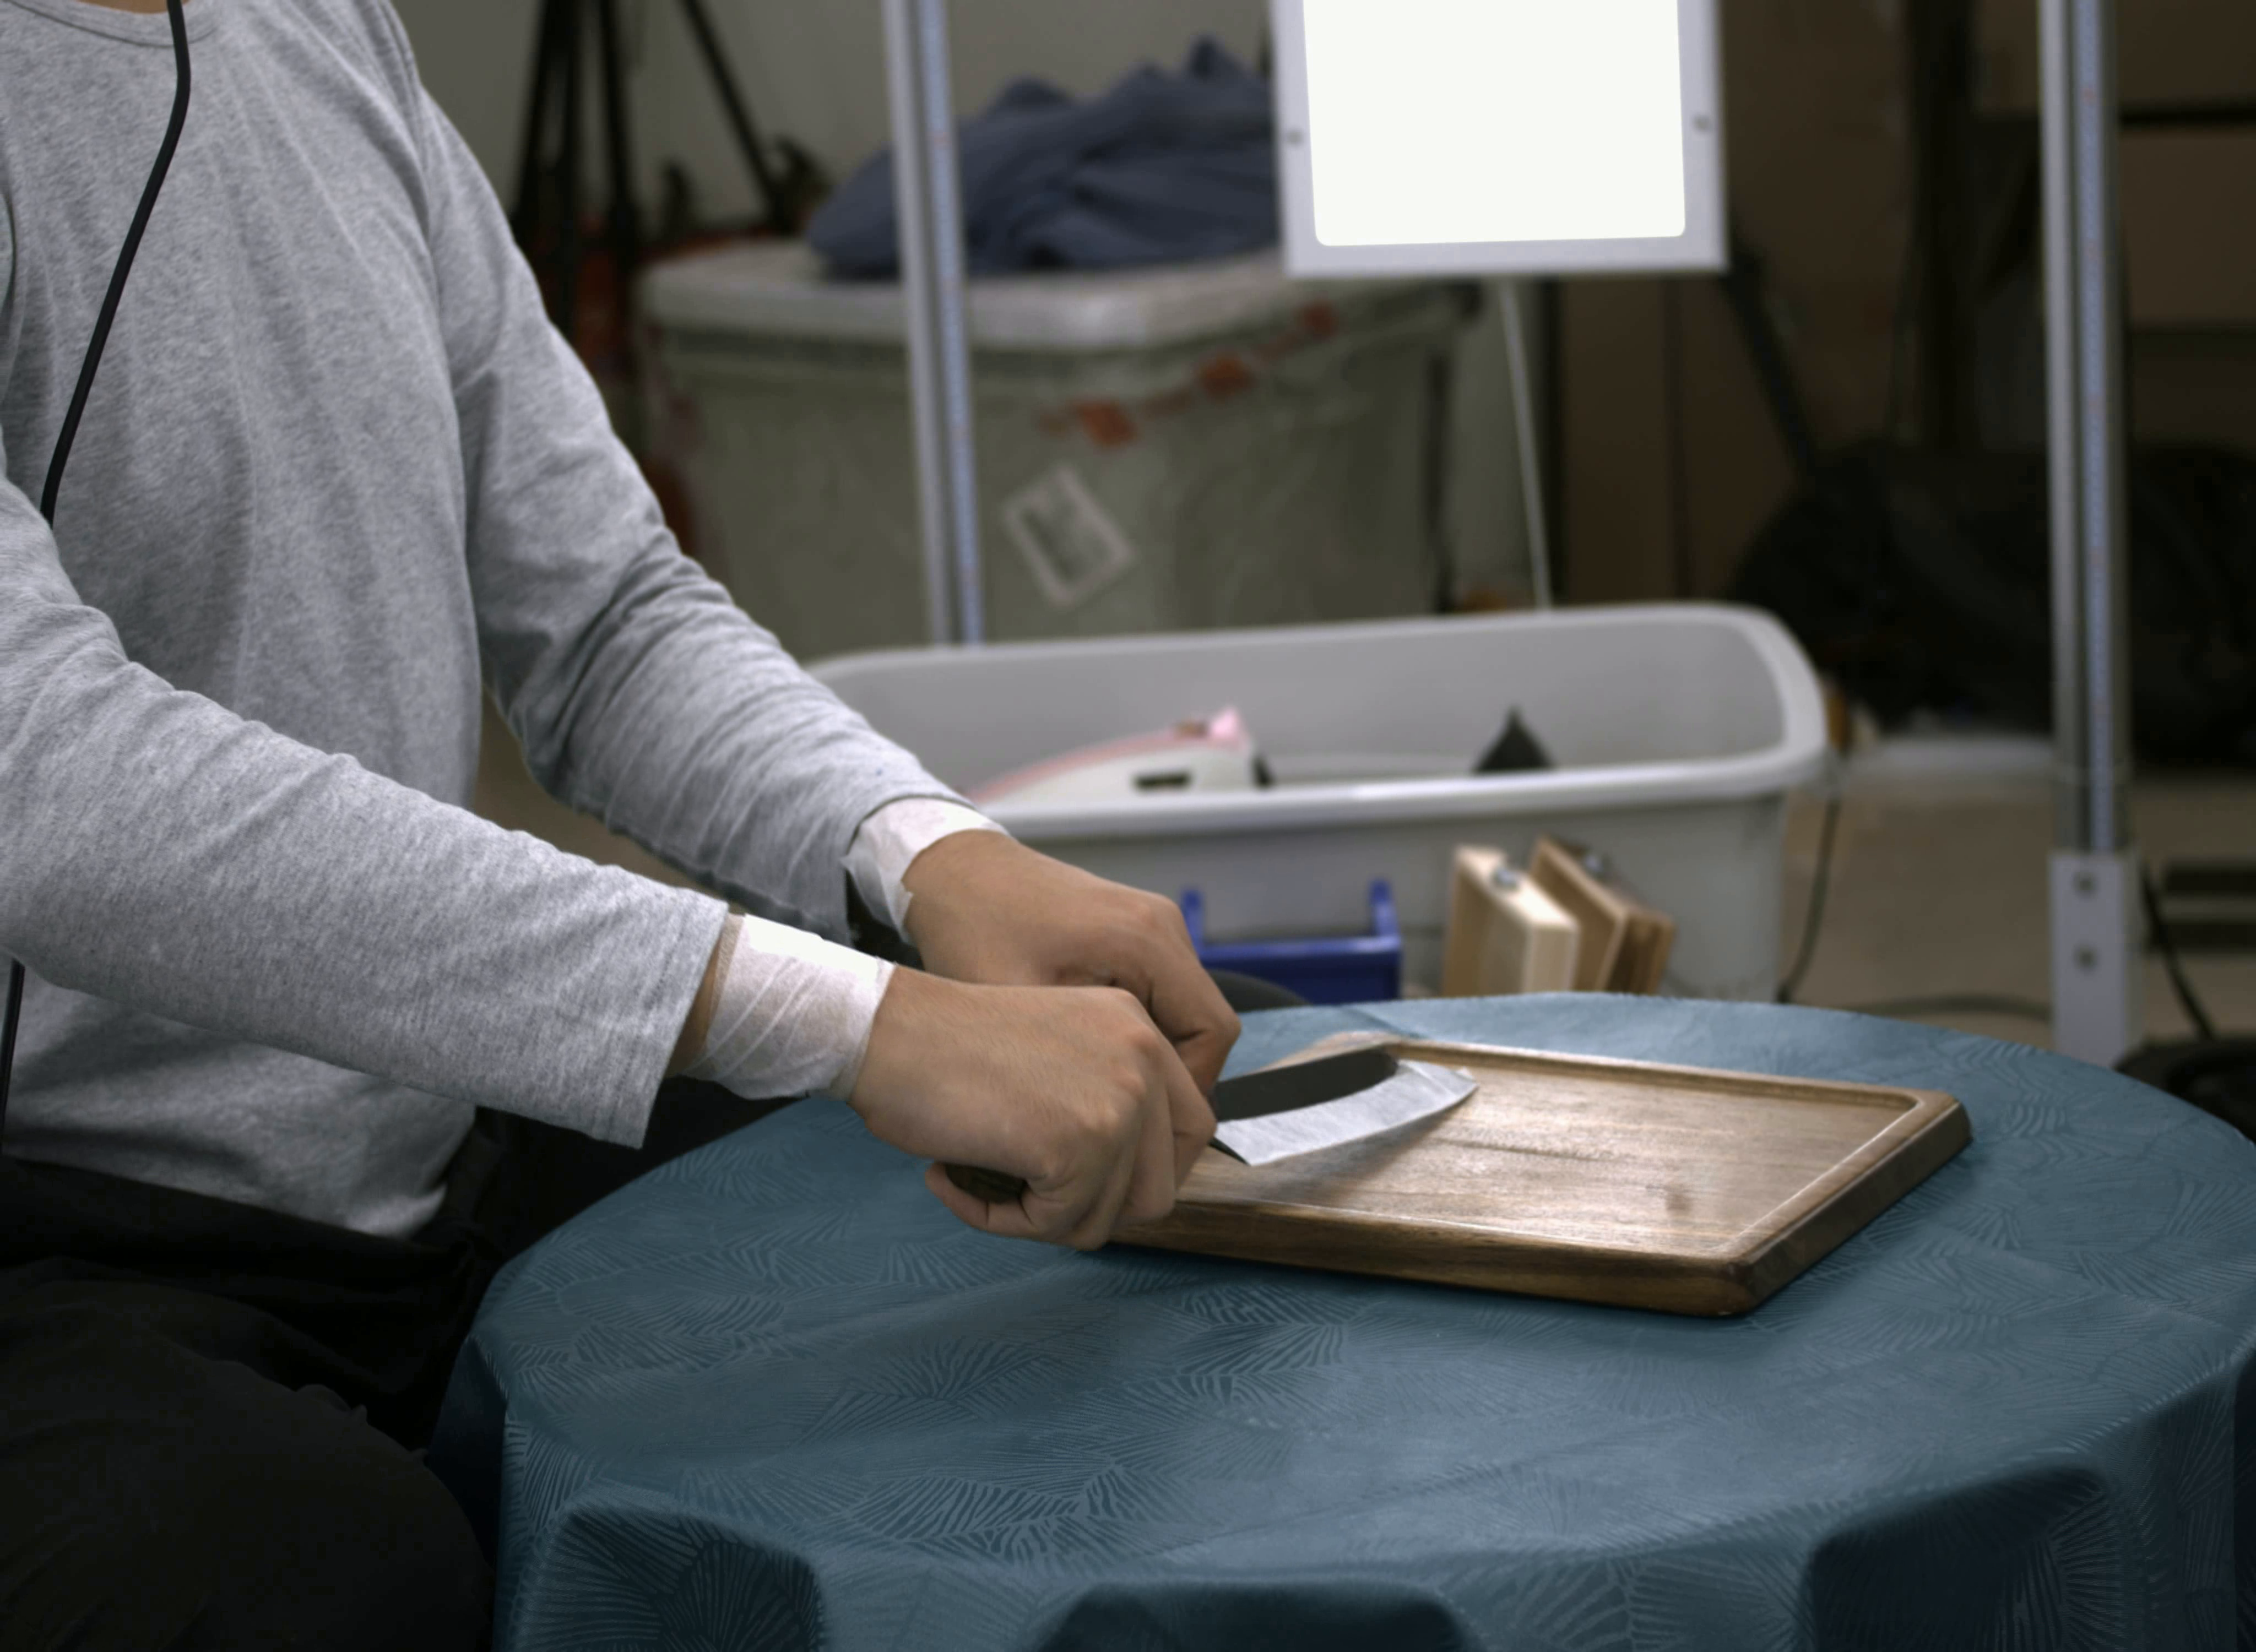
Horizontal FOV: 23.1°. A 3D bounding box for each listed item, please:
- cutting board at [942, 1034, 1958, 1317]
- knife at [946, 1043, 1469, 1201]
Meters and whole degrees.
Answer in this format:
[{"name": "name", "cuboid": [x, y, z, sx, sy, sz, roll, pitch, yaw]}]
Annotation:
[{"name": "cutting board", "cuboid": [0.090, 0.111, 1.883, 0.359, 0.023, 0.196, 5, 16, 32]}, {"name": "knife", "cuboid": [0.033, 0.096, 1.821, 0.051, 0.020, 0.282, 37, 24, 29]}]
